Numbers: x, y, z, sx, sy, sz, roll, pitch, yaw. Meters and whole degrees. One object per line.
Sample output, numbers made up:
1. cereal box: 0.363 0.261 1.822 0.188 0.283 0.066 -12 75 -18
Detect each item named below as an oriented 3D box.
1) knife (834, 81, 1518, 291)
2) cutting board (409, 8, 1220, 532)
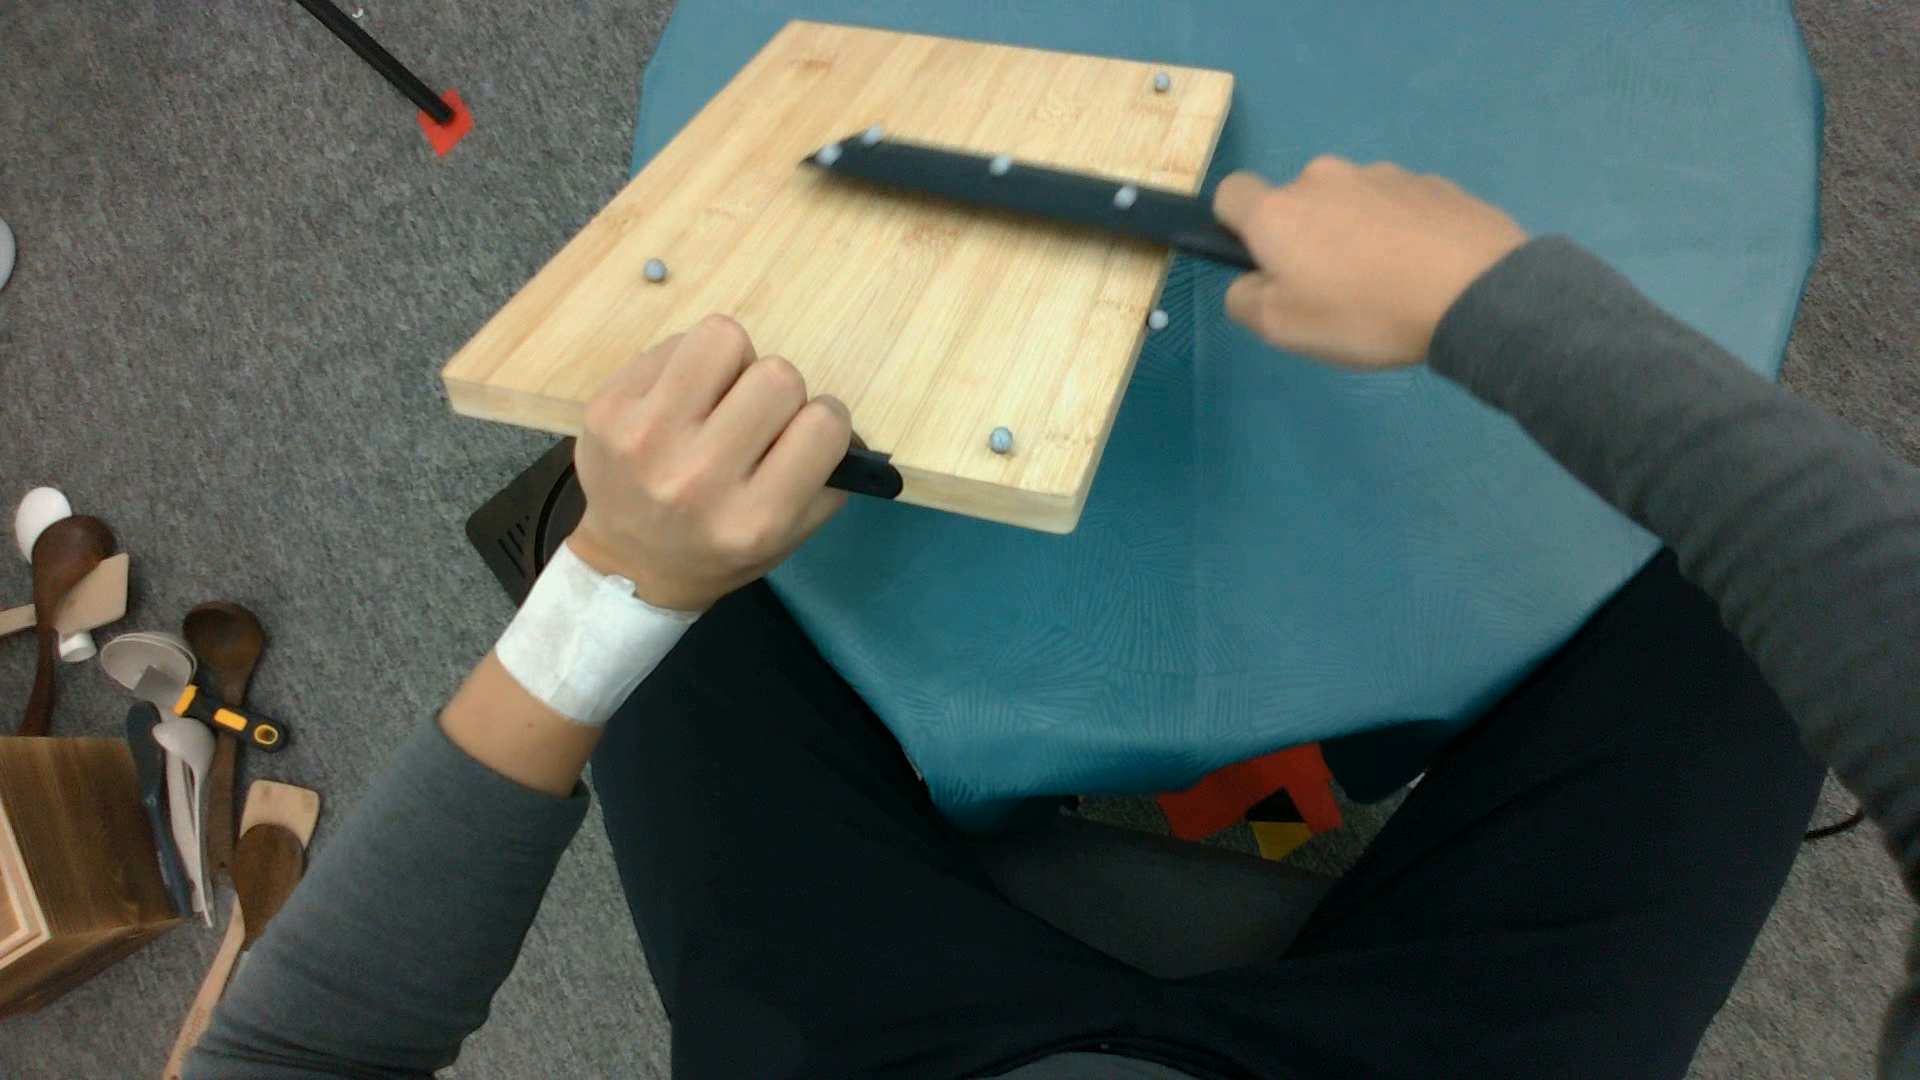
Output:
1. knife: 0.086 -0.160 0.593 0.302 0.081 0.021 23 125 23
2. cutting board: -0.034 -0.143 0.601 0.250 0.023 0.350 11 44 11
